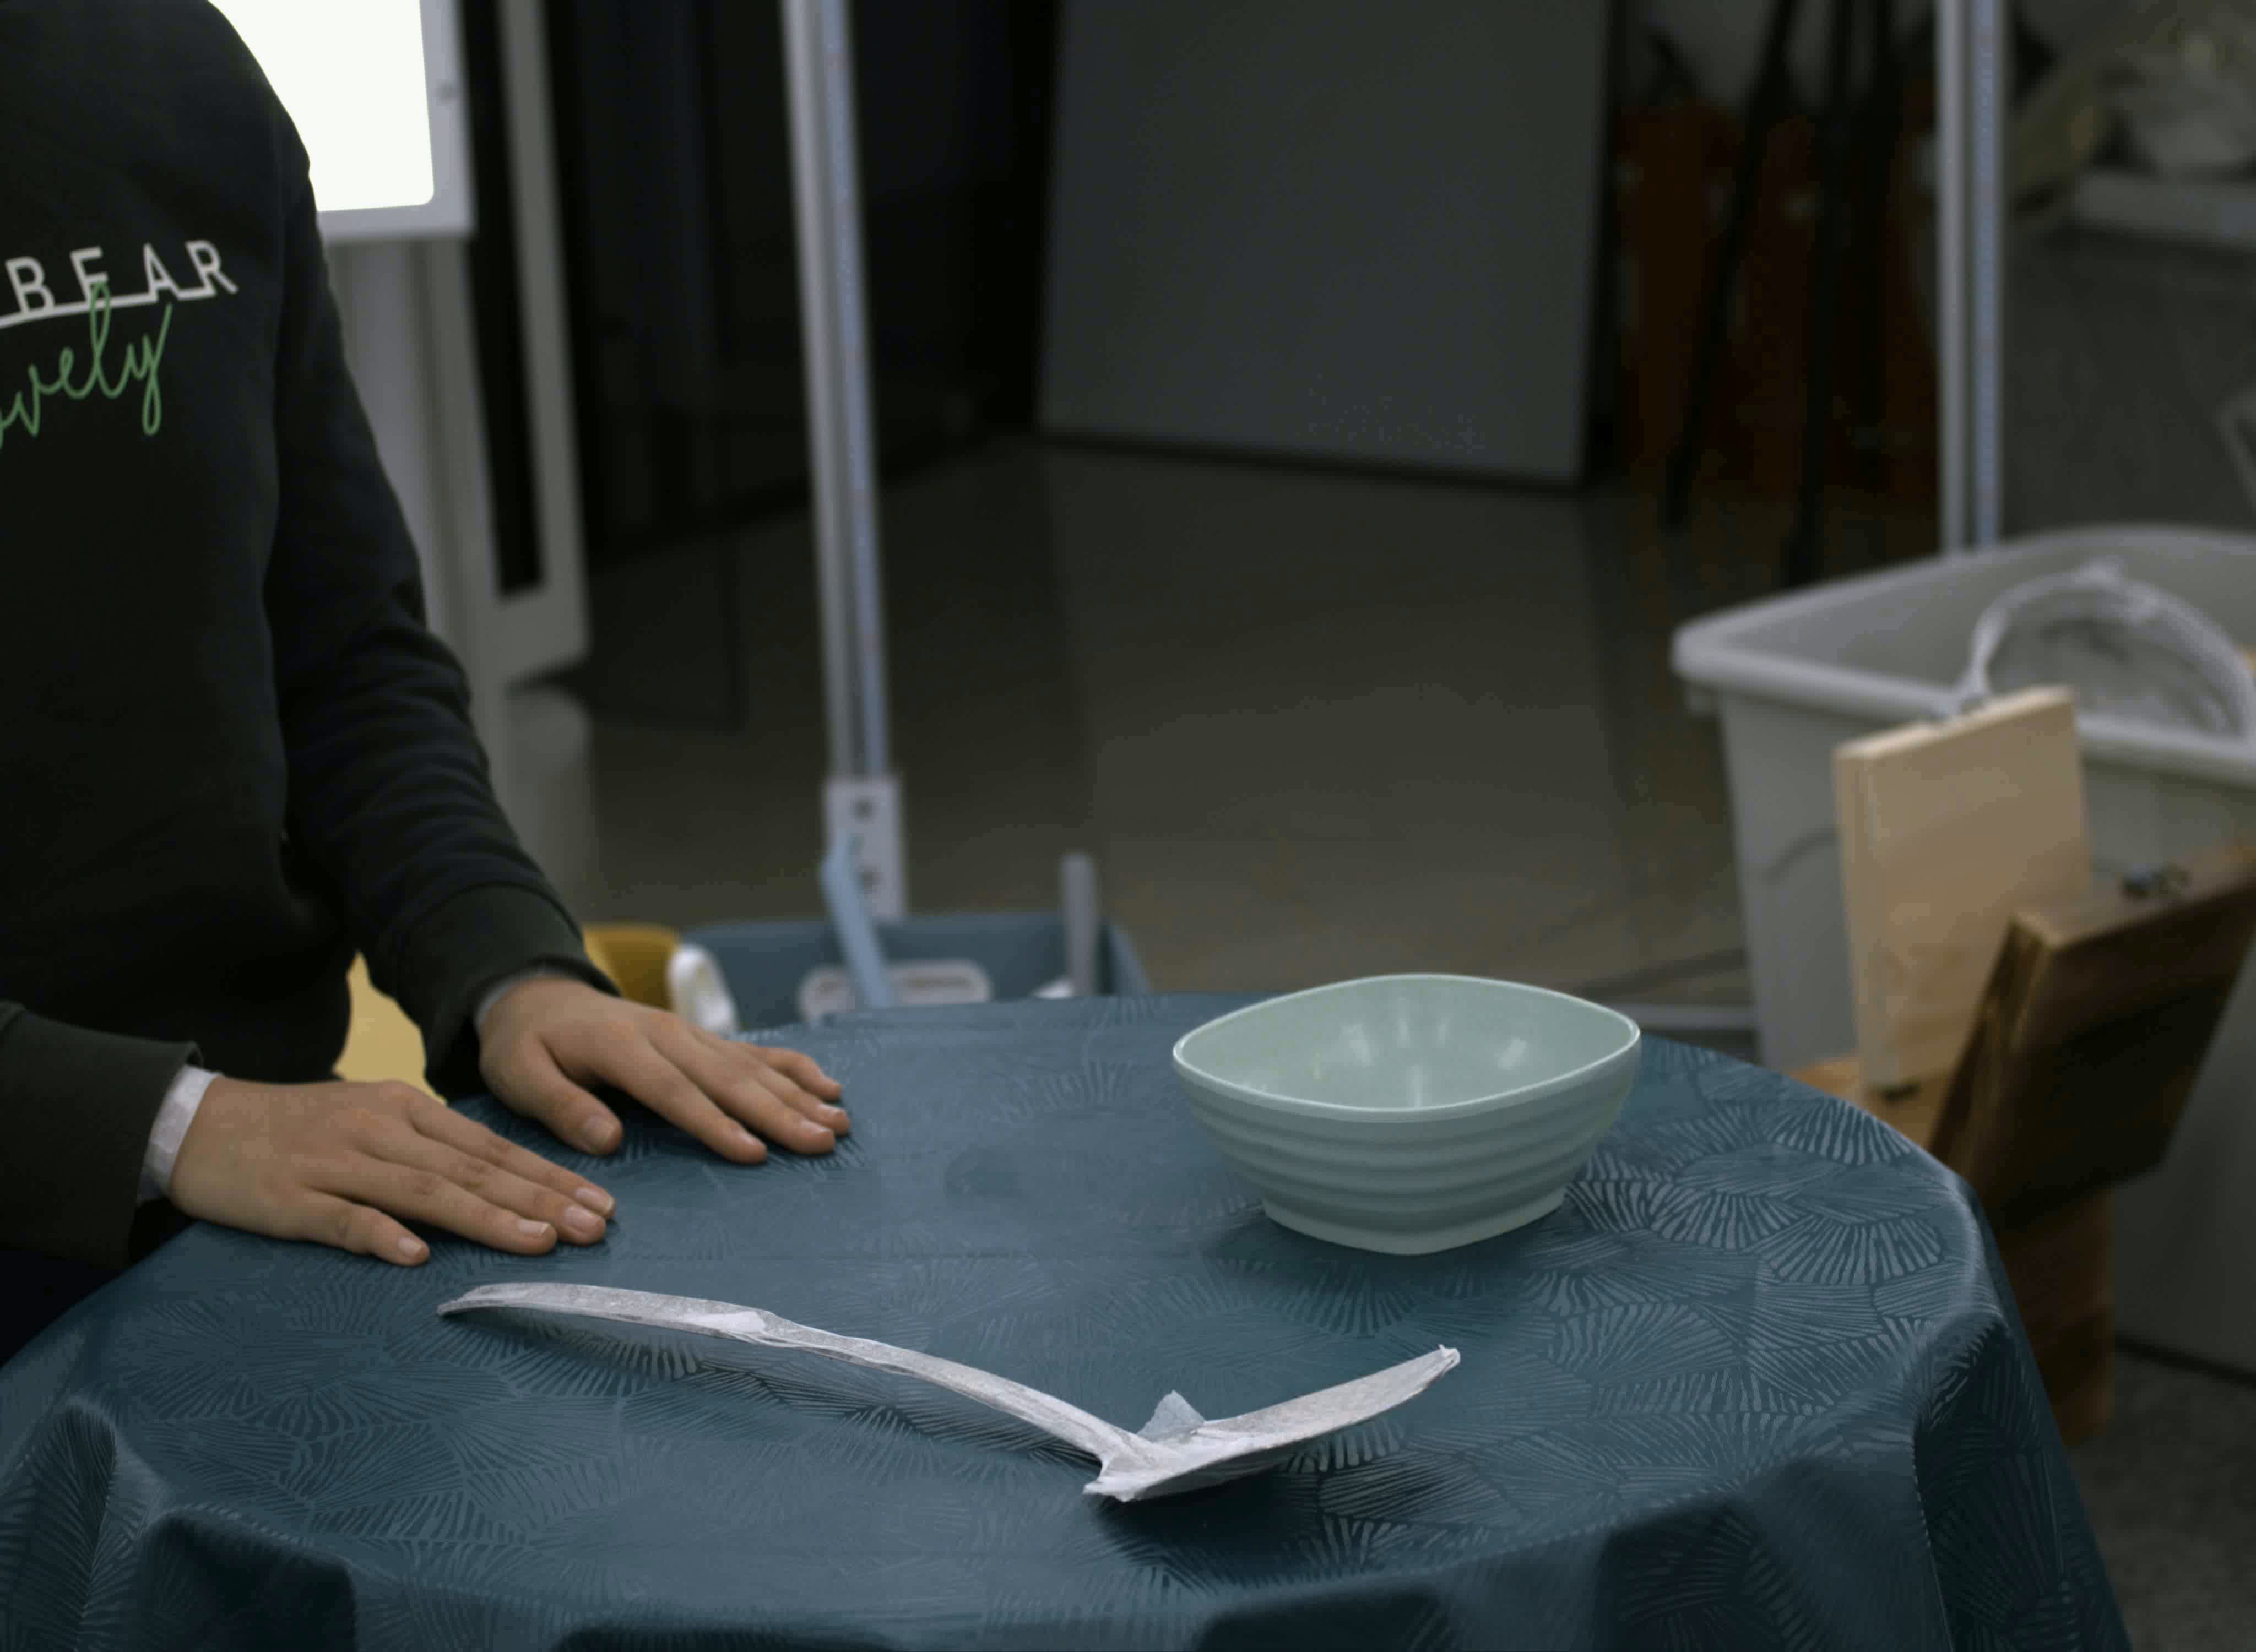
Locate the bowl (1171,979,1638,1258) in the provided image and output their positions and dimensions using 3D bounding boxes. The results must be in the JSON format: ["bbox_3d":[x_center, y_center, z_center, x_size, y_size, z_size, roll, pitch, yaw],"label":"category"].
[{"bbox_3d":[0.089,0.096,1.728,0.149,0.059,0.151,-1,13,-1],"label":"bowl"}]

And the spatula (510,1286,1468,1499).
[{"bbox_3d":[-0.062,0.153,1.578,0.368,0.045,0.097,8,20,40],"label":"spatula"}]
